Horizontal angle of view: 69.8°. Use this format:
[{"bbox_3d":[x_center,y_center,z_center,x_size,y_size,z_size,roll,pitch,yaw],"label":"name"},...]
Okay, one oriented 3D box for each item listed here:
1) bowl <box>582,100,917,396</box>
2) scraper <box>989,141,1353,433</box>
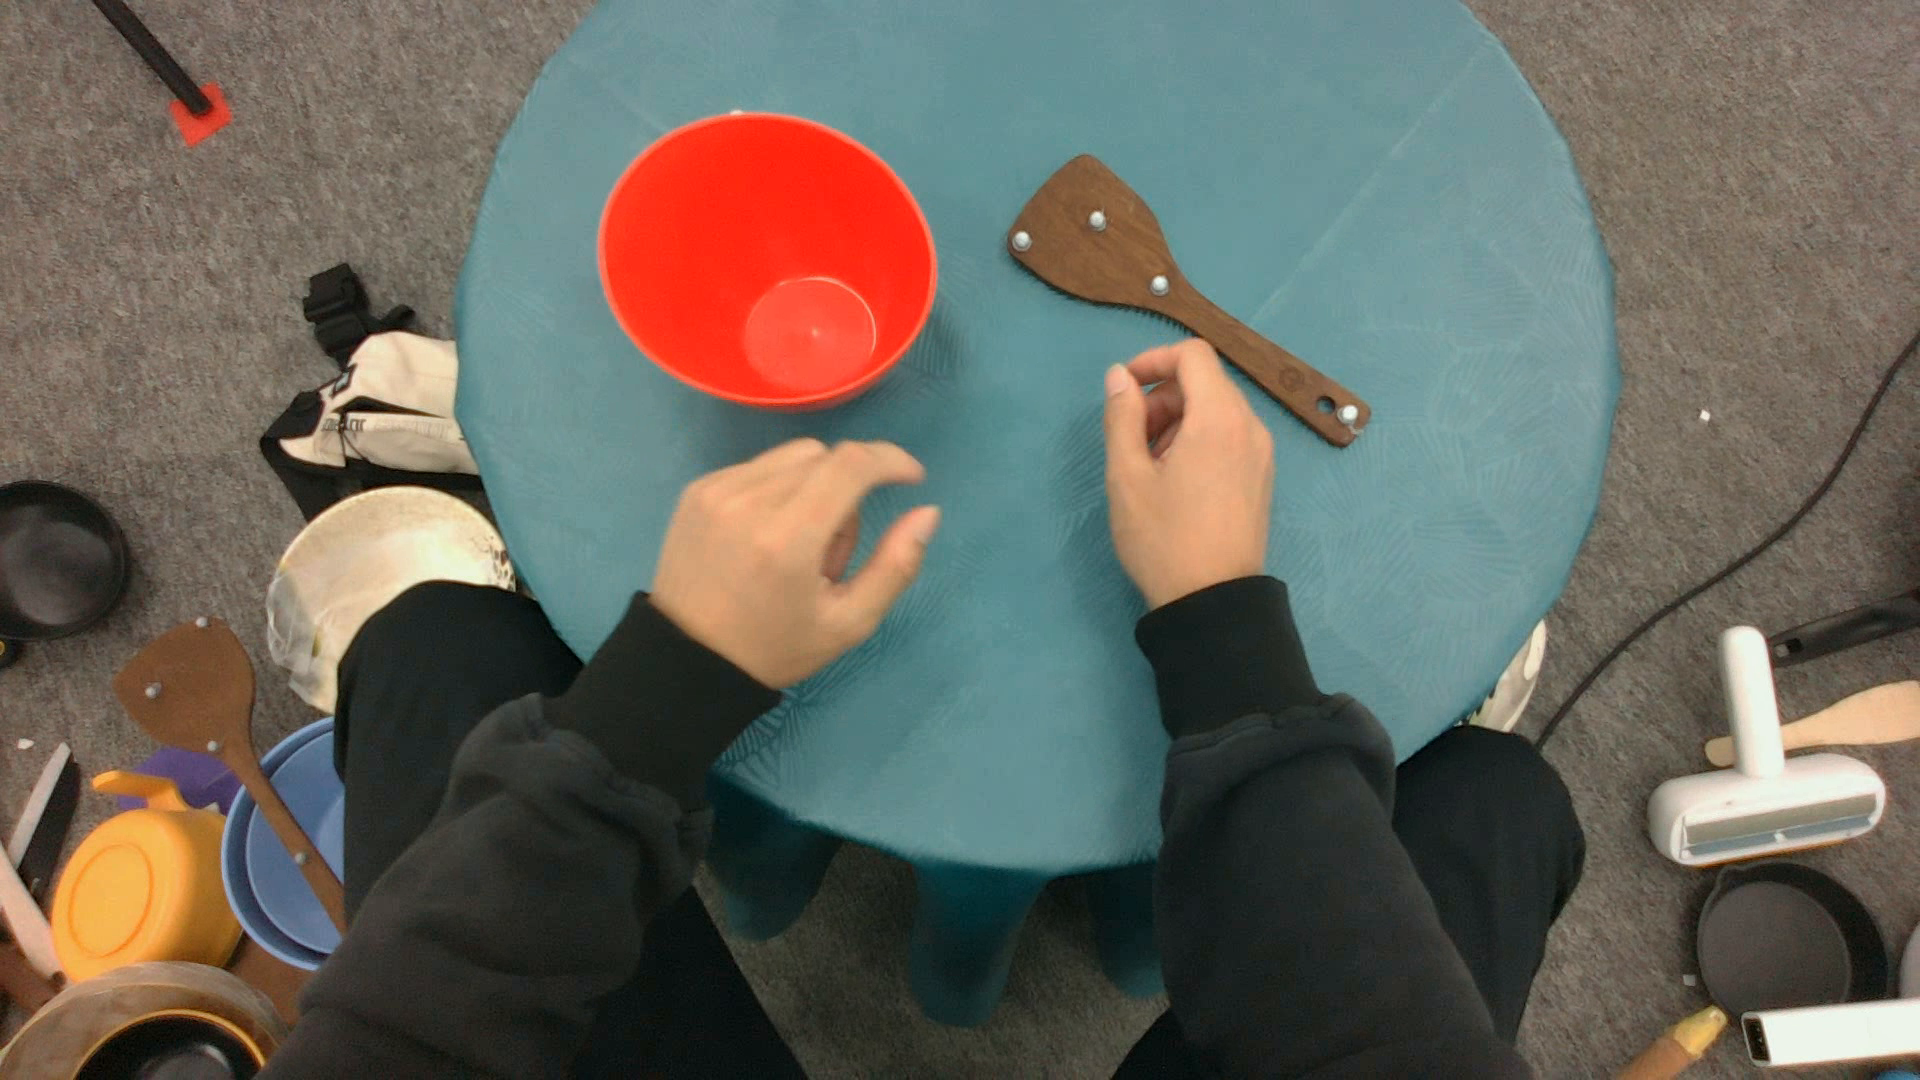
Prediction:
[{"bbox_3d":[-0.094,-0.124,0.658,0.148,0.104,0.148,1,72,-2],"label":"bowl"},{"bbox_3d":[0.113,-0.125,0.714,0.211,0.011,0.076,38,76,9],"label":"scraper"}]
